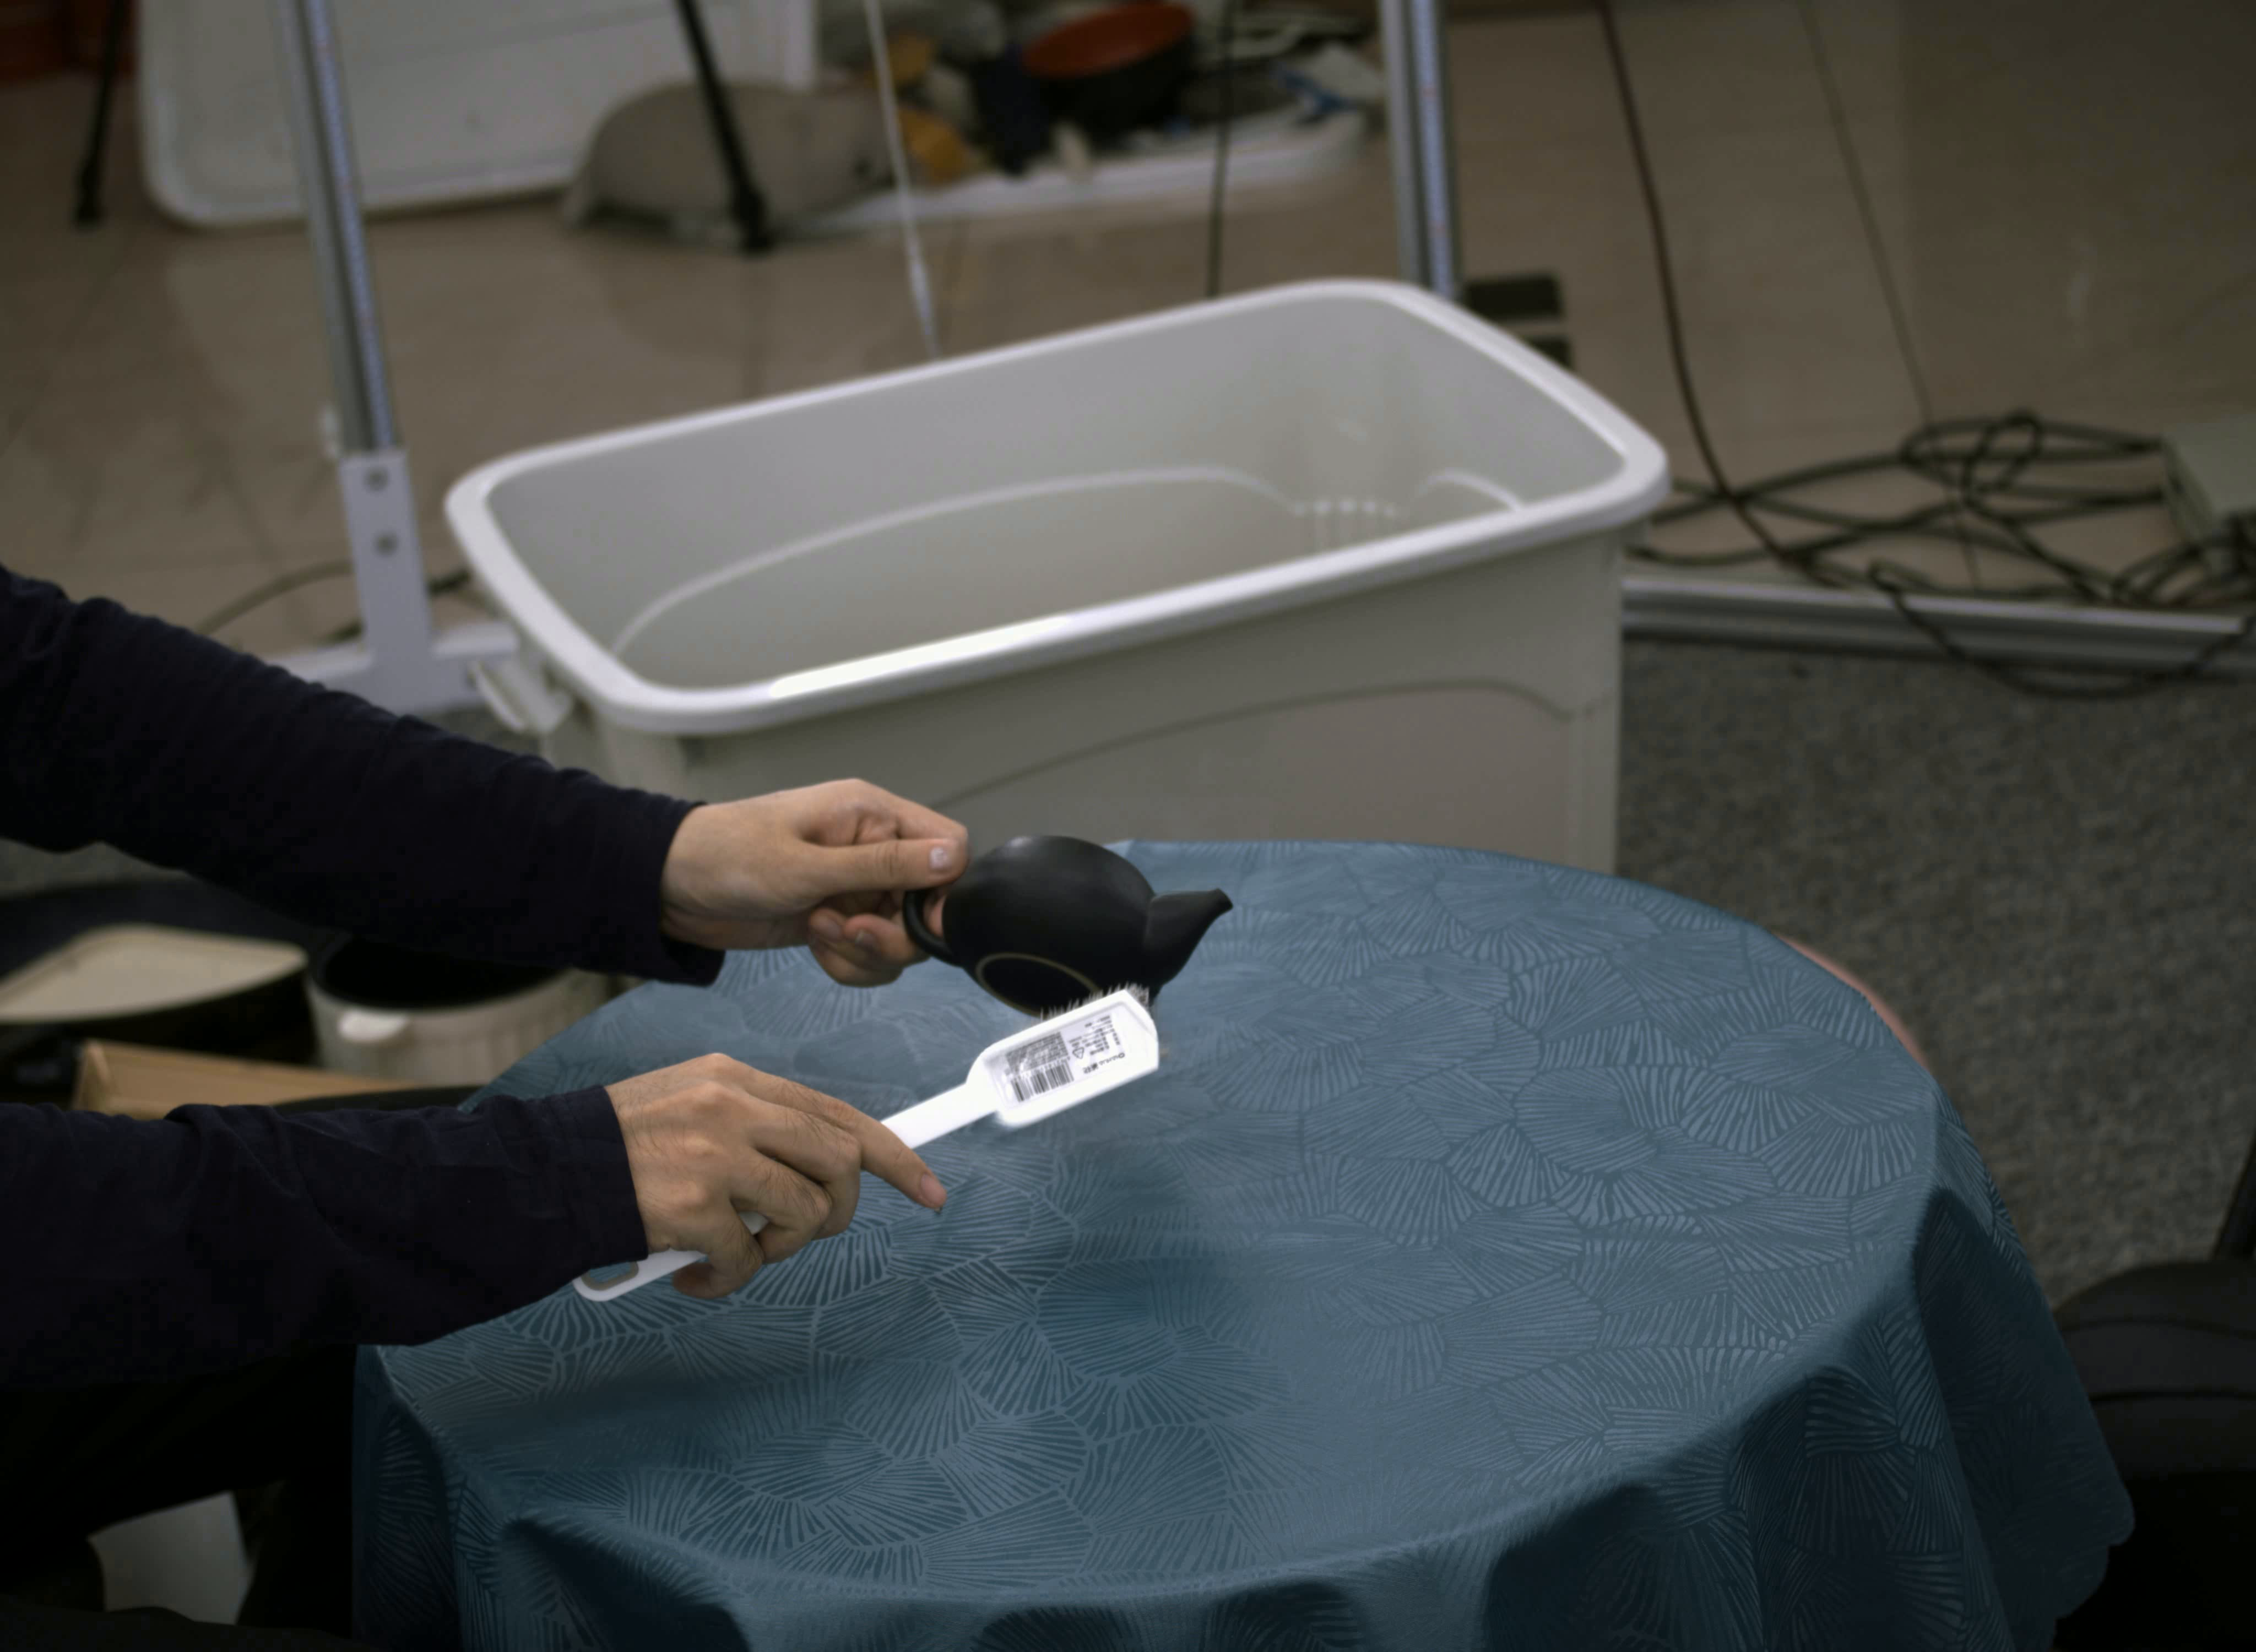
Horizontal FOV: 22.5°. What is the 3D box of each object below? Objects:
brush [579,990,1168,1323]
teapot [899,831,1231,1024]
[{"bbox_3d":[-0.093,0.121,2.063,0.242,0.034,0.050,-26,-1,-16],"label":"brush"},{"bbox_3d":[-0.029,0.040,2.185,0.132,0.092,0.052,8,57,21],"label":"teapot"}]
